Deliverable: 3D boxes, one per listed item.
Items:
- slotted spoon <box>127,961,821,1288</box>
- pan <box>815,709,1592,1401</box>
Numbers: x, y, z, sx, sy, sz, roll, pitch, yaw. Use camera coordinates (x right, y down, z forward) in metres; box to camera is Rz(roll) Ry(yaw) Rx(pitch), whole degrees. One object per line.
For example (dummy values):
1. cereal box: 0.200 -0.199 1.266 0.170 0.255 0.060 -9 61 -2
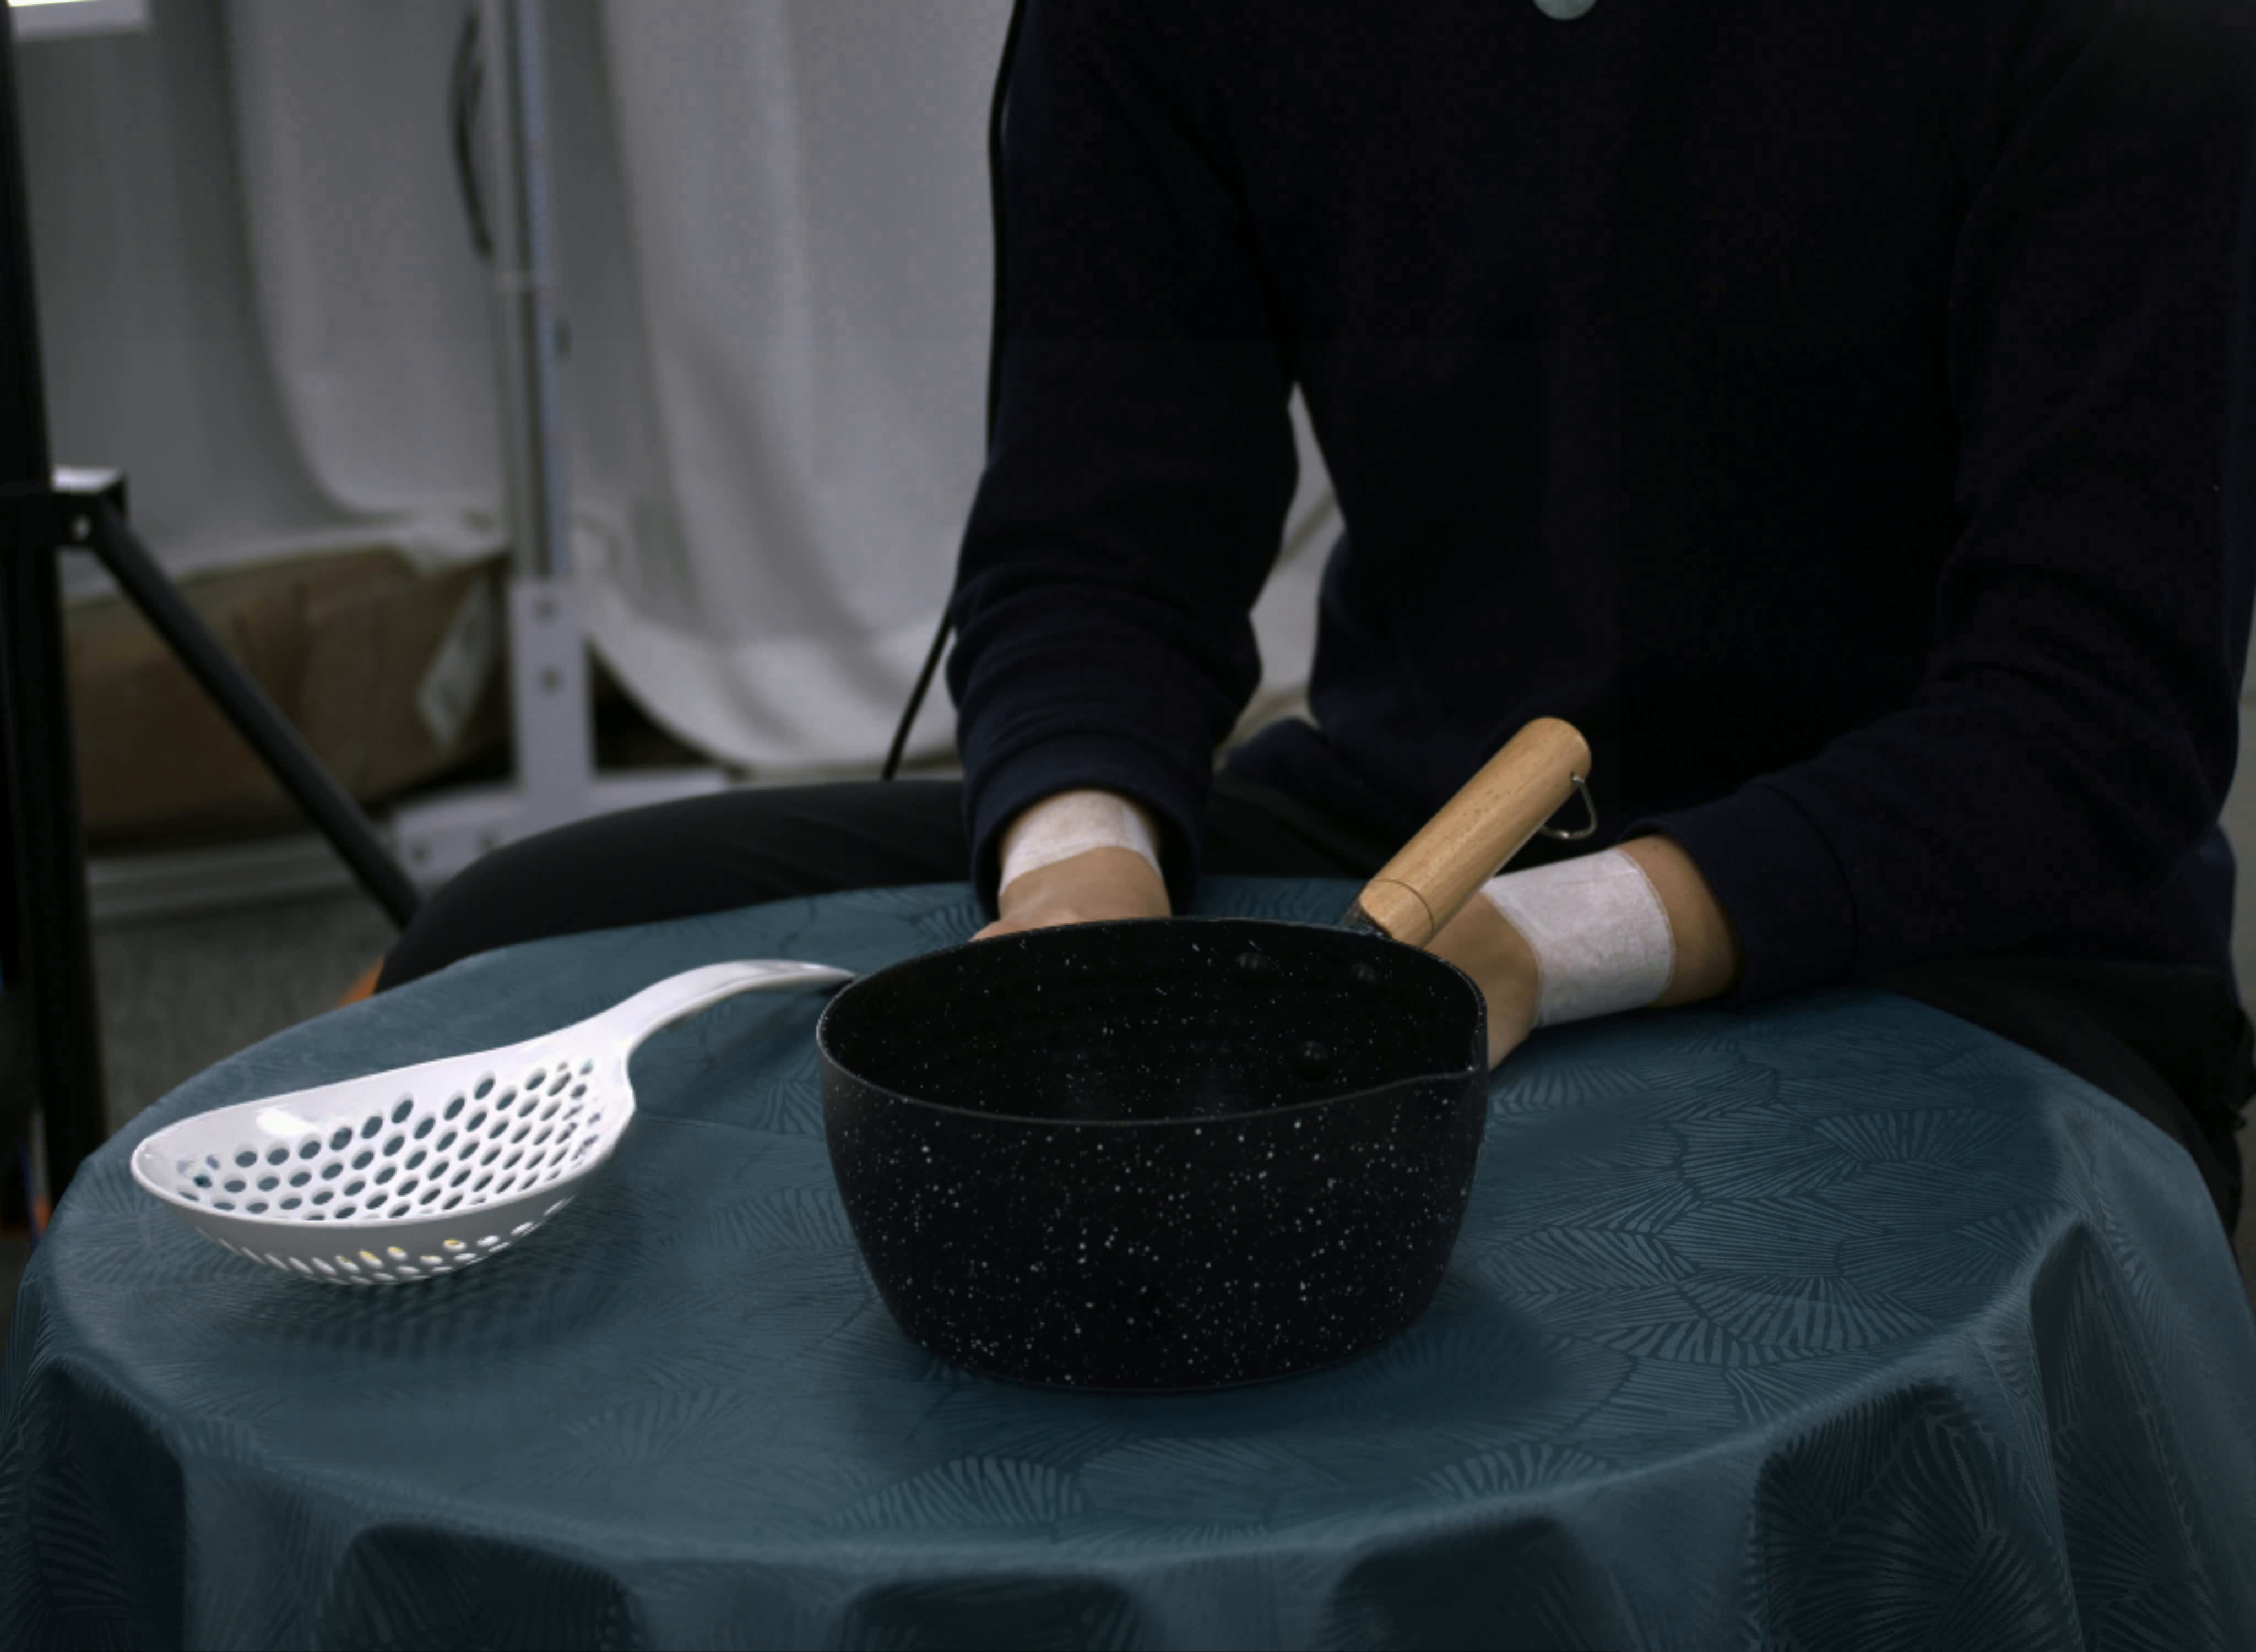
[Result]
1. slotted spoon: -0.169 0.077 1.616 0.139 0.050 0.343 3 18 24
2. pan: 0.047 0.060 1.522 0.211 0.108 0.337 6 19 31
